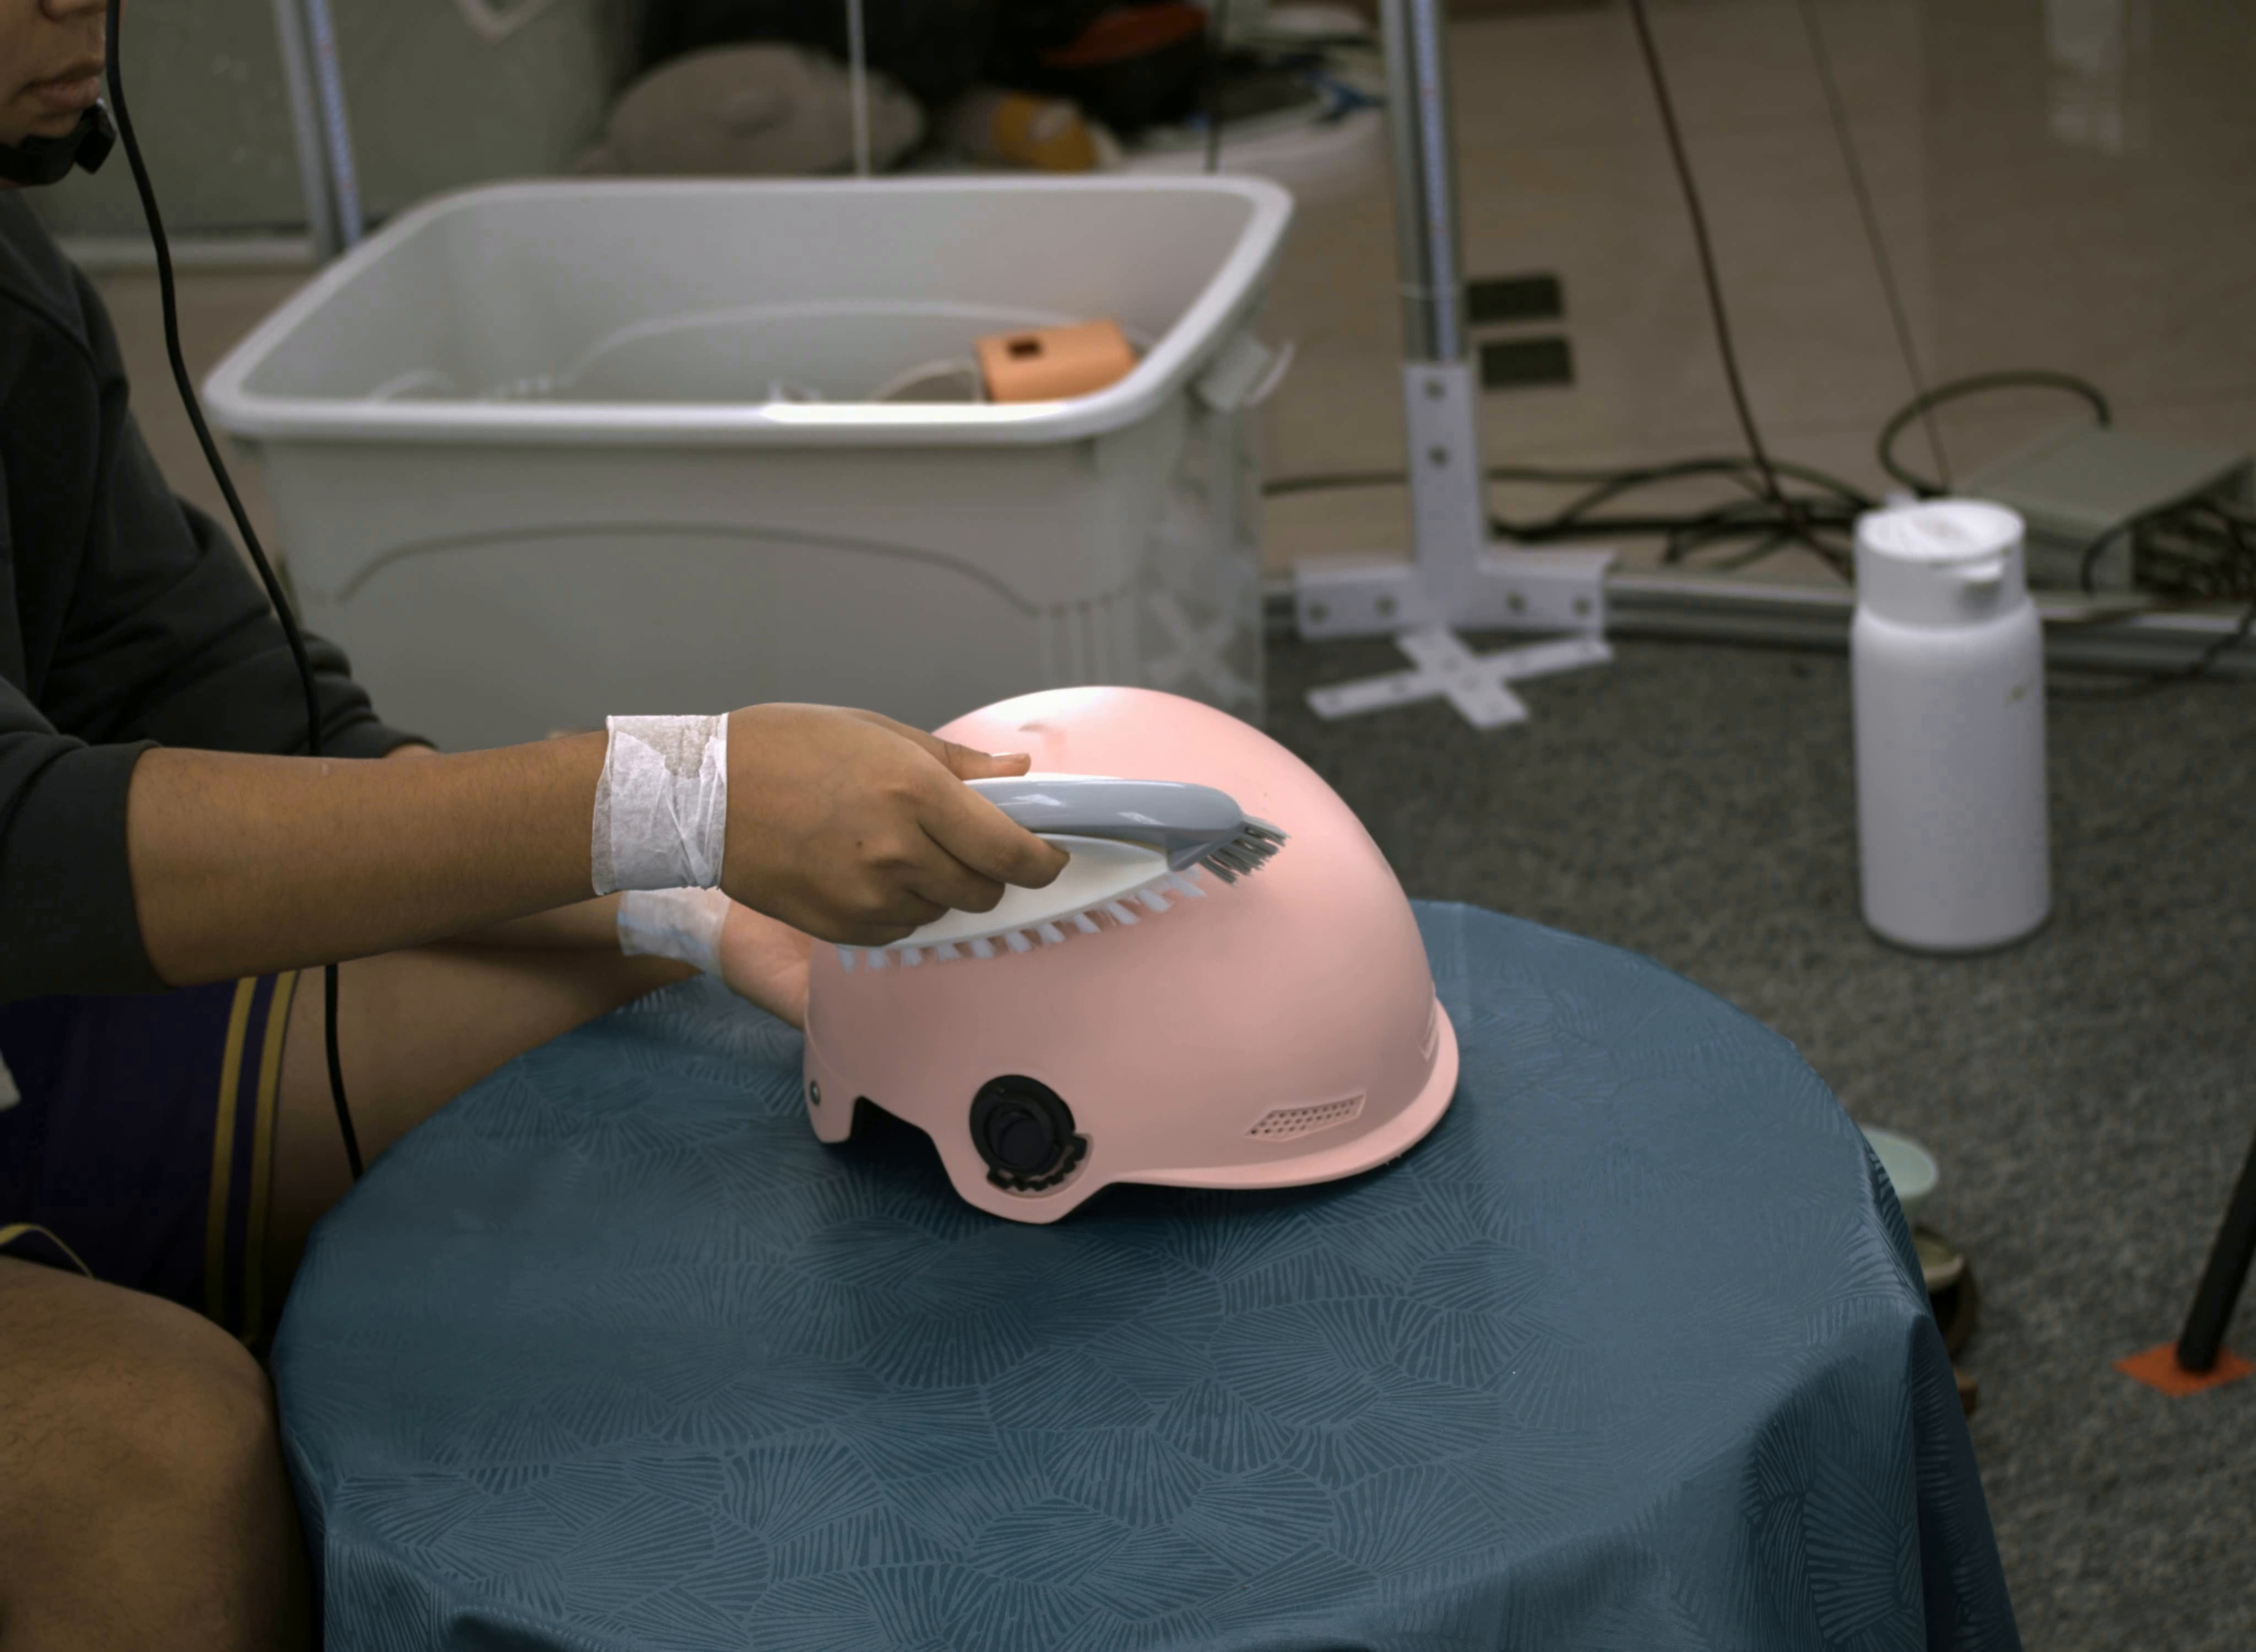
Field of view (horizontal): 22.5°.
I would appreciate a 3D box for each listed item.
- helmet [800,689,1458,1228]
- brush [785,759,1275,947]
[{"bbox_3d":[-0.002,0.036,2.187,0.264,0.161,0.231,16,32,30],"label":"helmet"},{"bbox_3d":[-0.040,0.001,2.061,0.175,0.061,0.095,-5,-17,13],"label":"brush"}]
